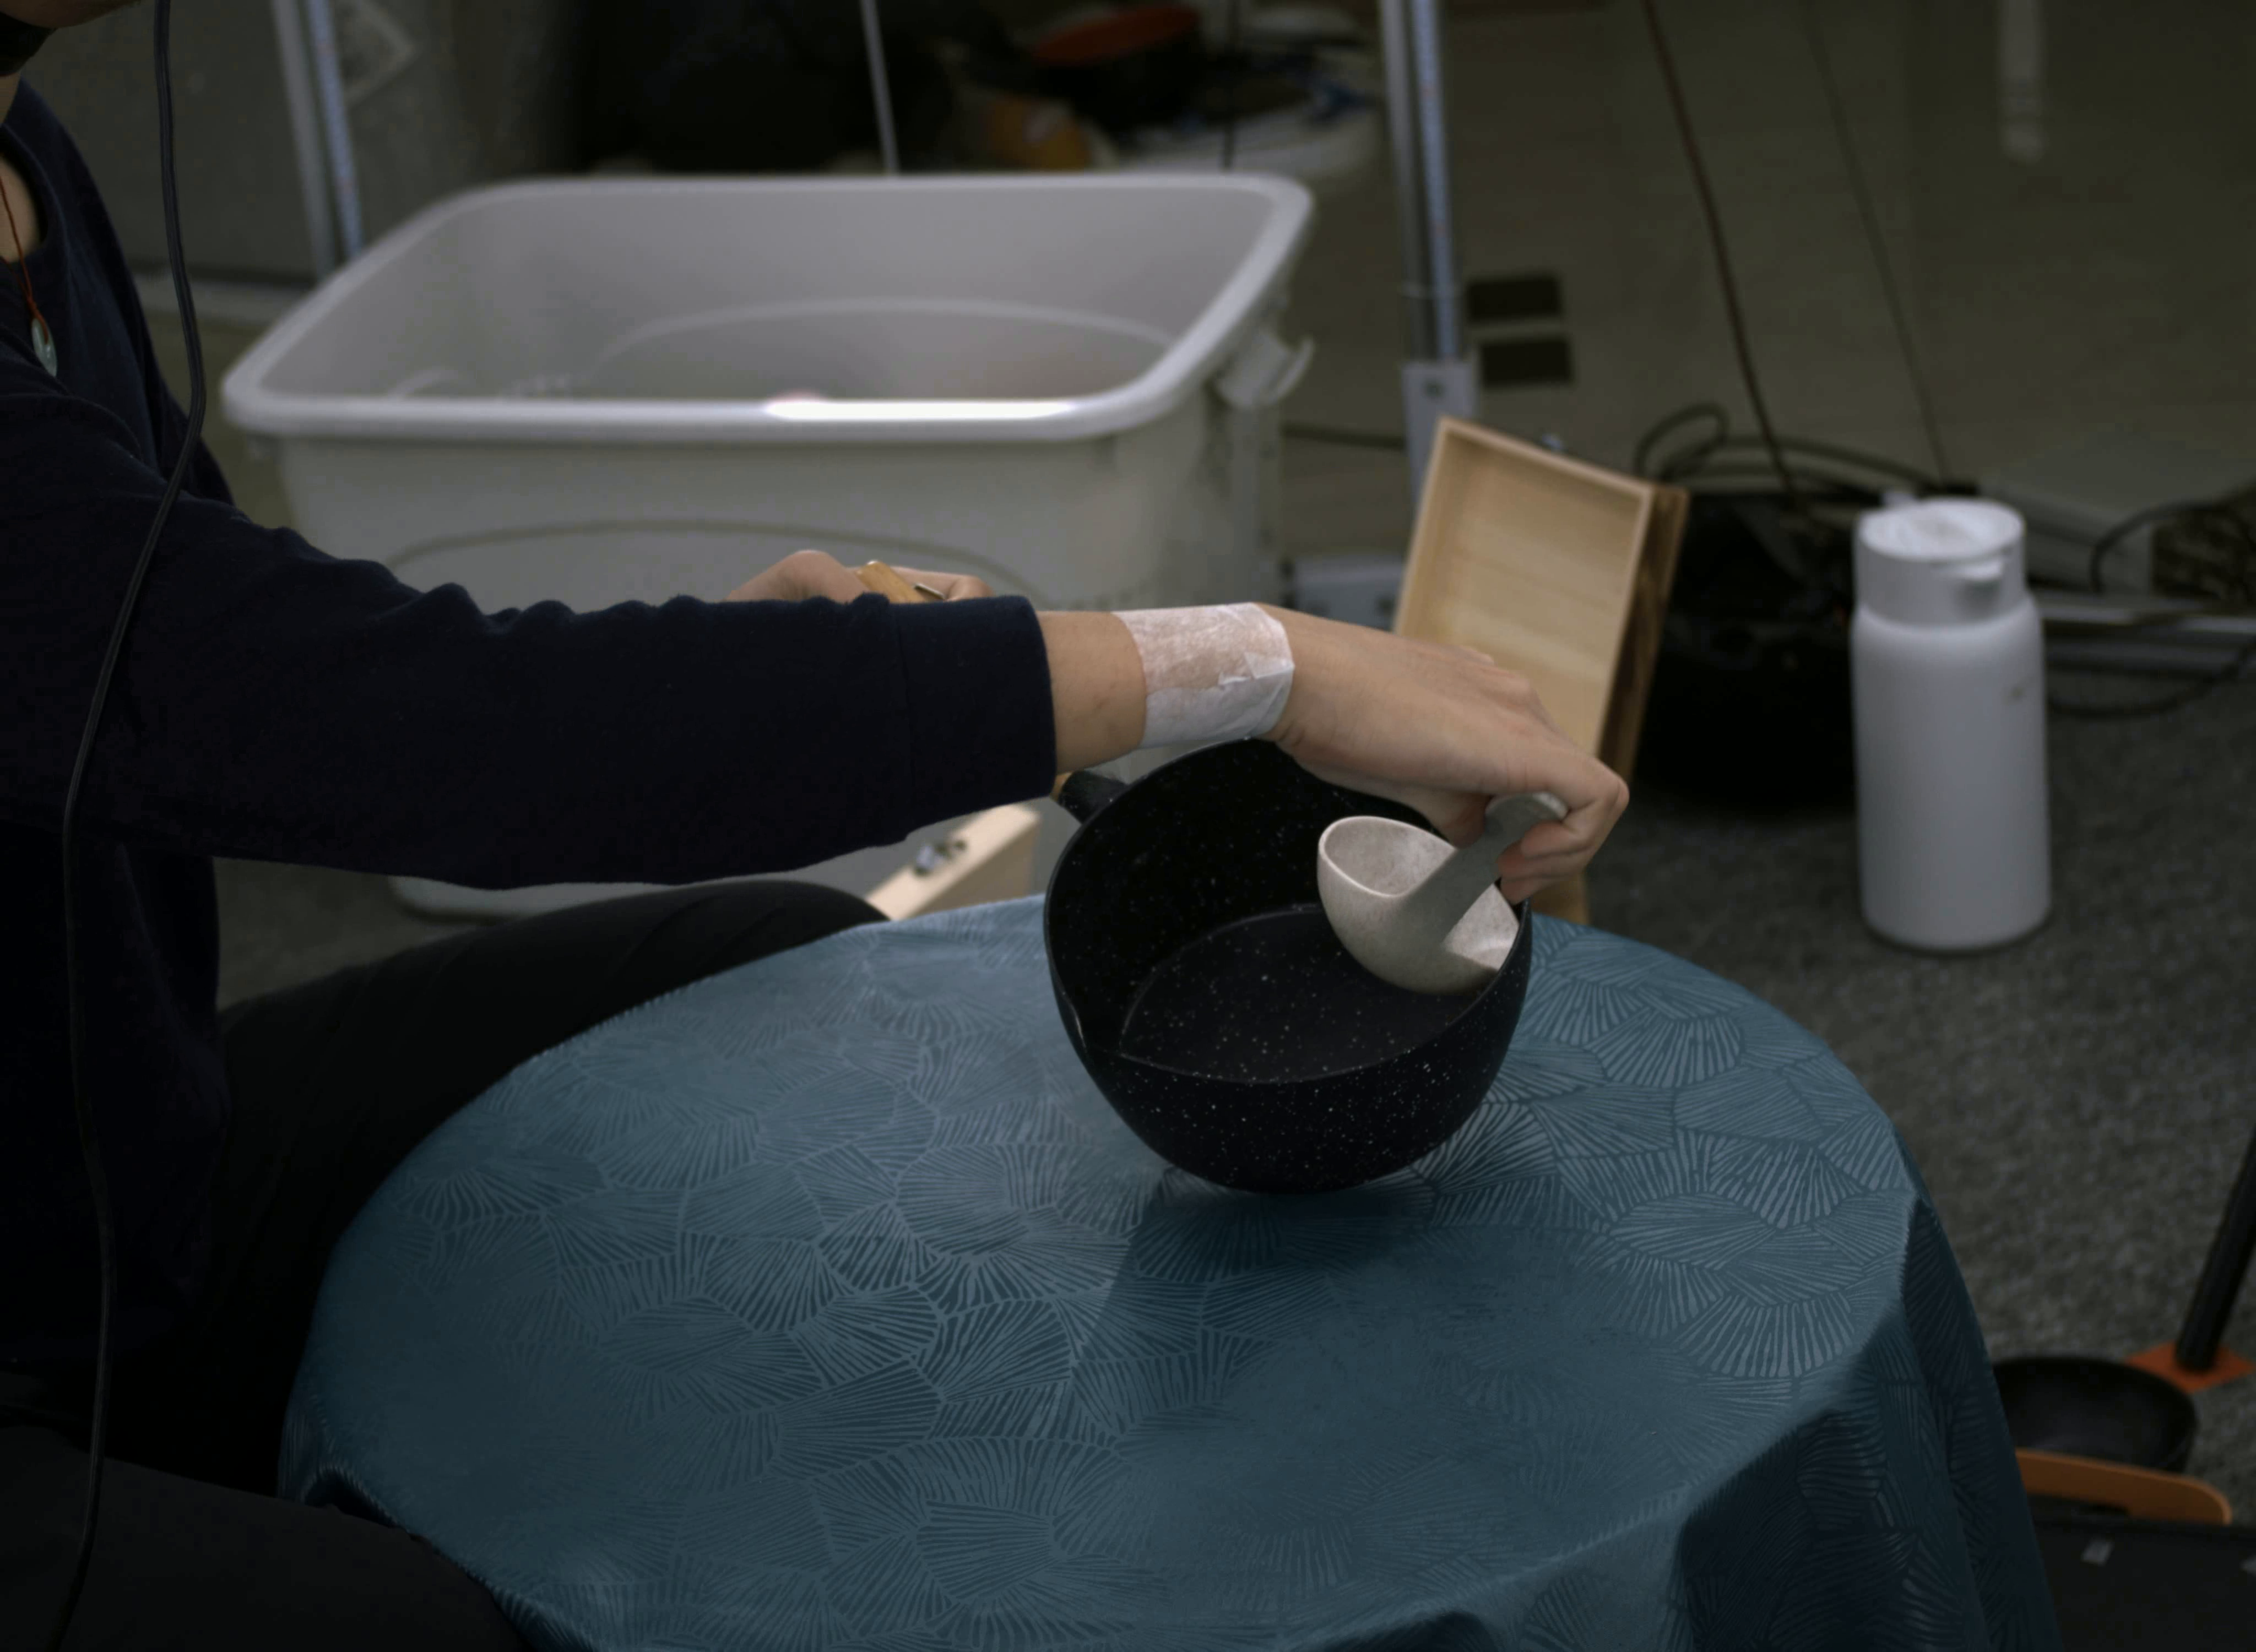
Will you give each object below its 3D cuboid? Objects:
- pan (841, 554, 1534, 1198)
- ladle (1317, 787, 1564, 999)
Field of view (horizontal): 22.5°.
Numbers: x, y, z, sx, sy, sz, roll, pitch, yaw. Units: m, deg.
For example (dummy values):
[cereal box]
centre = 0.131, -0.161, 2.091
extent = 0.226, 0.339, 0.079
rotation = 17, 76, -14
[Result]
[pan]
centre = 0.008, 0.013, 2.189
extent = 0.205, 0.110, 0.339
rotation = -38, 54, -24
[ladle]
centre = 0.129, 0.002, 2.012
extent = 0.089, 0.277, 0.069
rotation = 37, 72, 0
